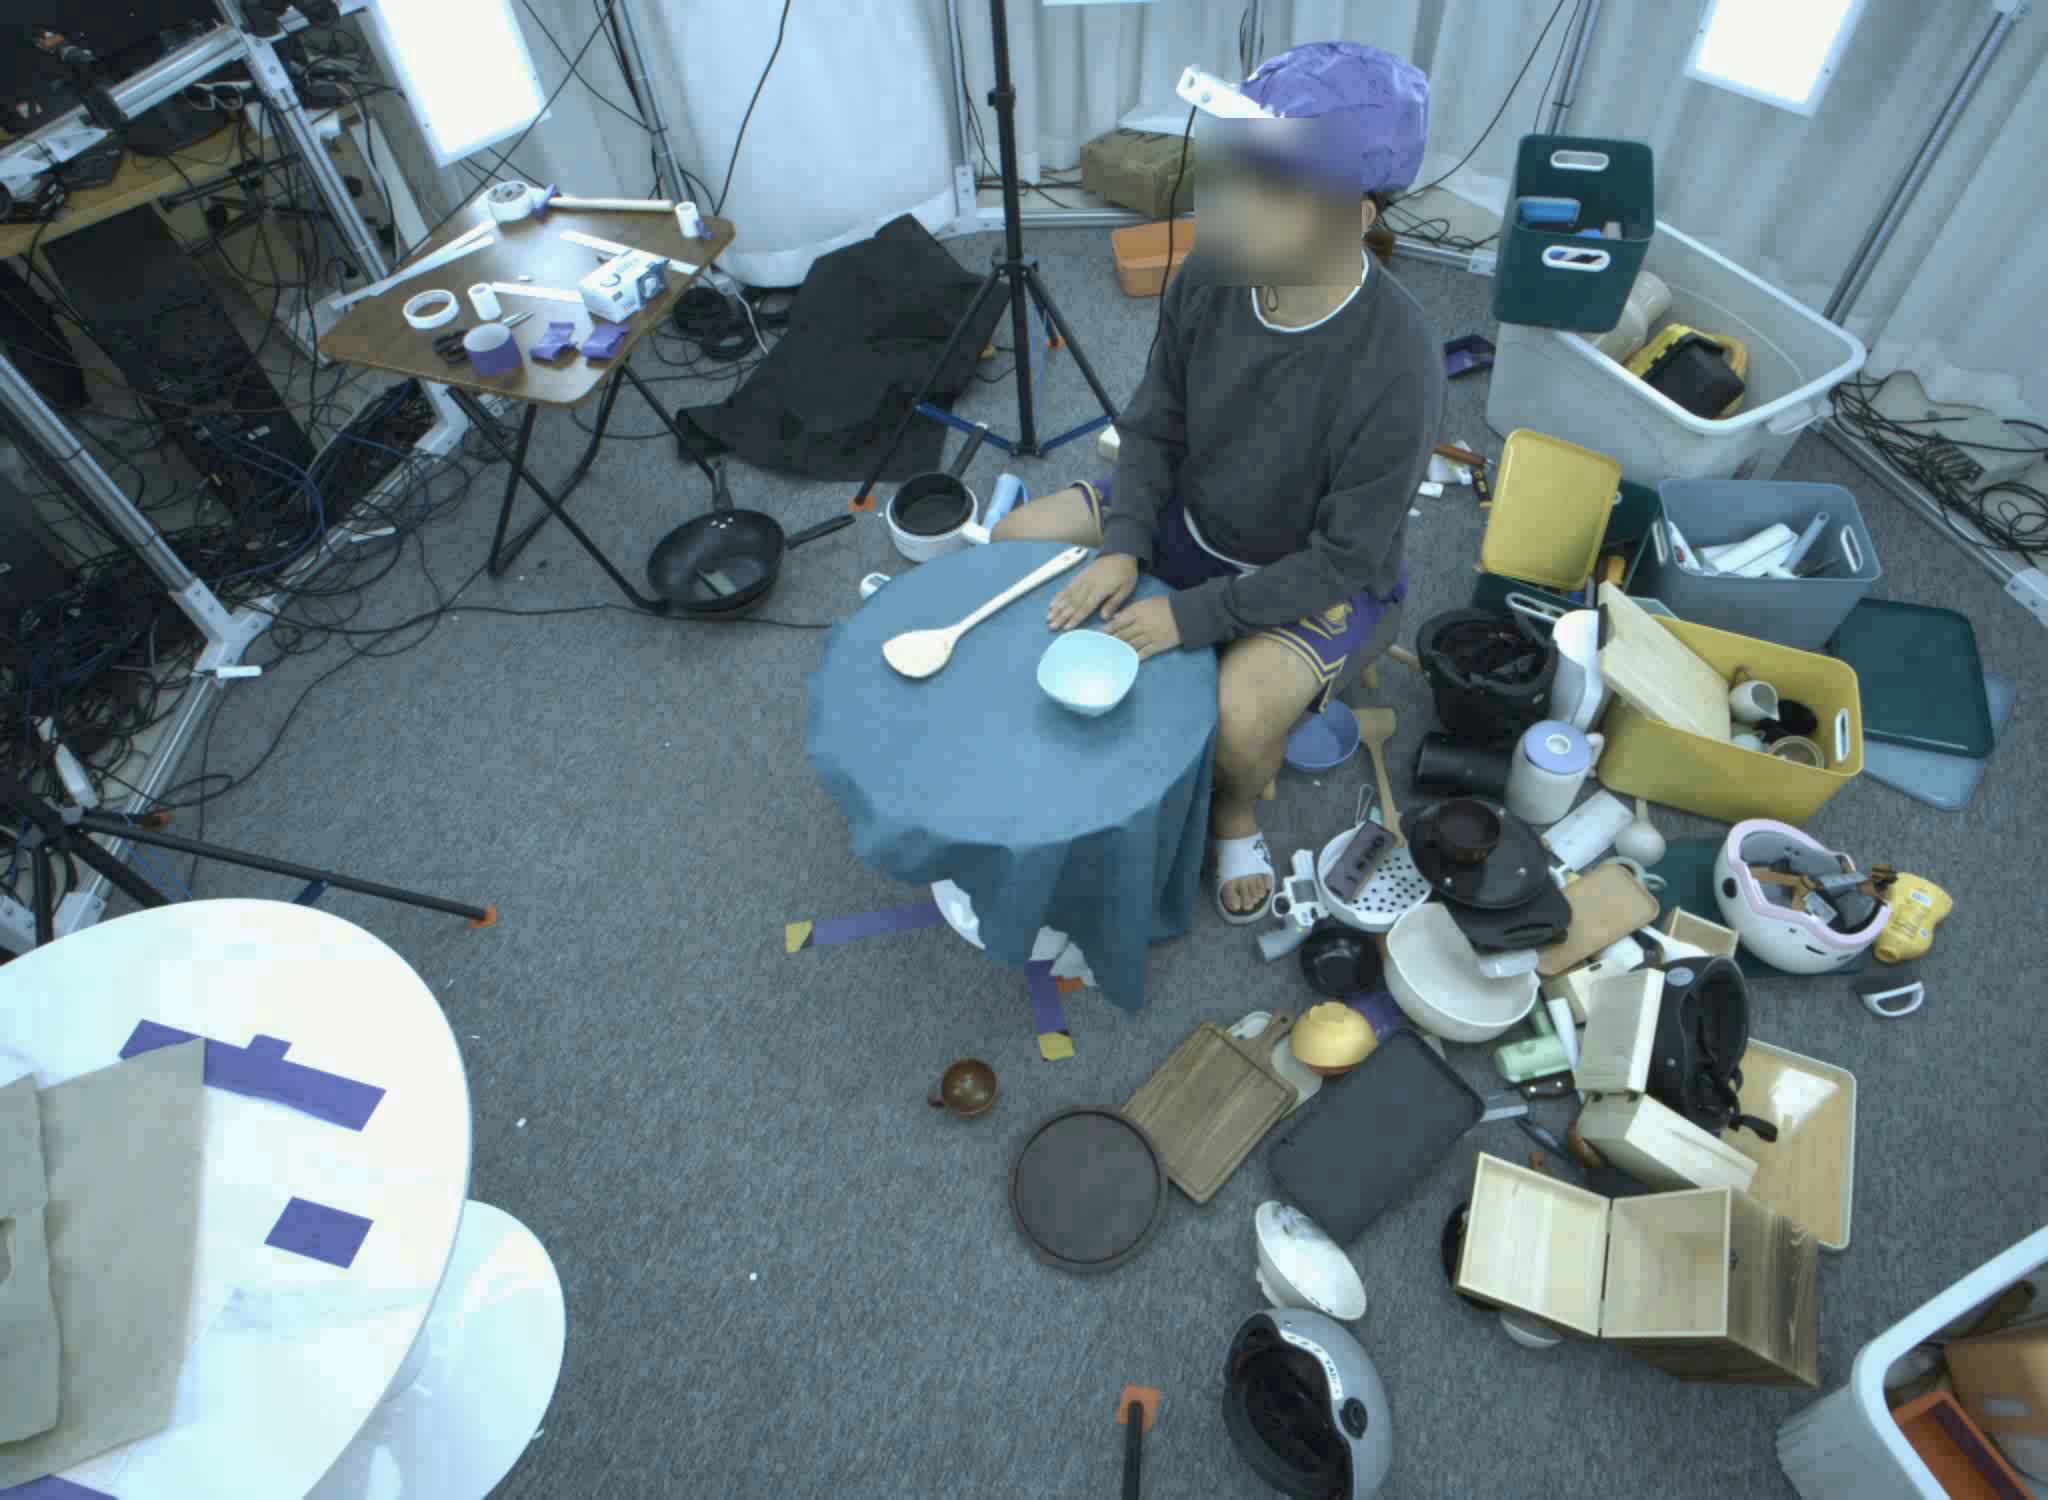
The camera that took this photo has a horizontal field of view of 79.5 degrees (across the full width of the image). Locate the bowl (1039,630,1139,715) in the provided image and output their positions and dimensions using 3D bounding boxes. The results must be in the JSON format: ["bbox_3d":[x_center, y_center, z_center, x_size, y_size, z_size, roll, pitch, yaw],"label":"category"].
[{"bbox_3d":[0.097,-0.105,1.828,0.151,0.059,0.150,-1,56,2],"label":"bowl"}]

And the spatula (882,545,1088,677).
[{"bbox_3d":[-0.052,-0.232,1.946,0.393,0.018,0.094,-36,63,-21],"label":"spatula"}]
